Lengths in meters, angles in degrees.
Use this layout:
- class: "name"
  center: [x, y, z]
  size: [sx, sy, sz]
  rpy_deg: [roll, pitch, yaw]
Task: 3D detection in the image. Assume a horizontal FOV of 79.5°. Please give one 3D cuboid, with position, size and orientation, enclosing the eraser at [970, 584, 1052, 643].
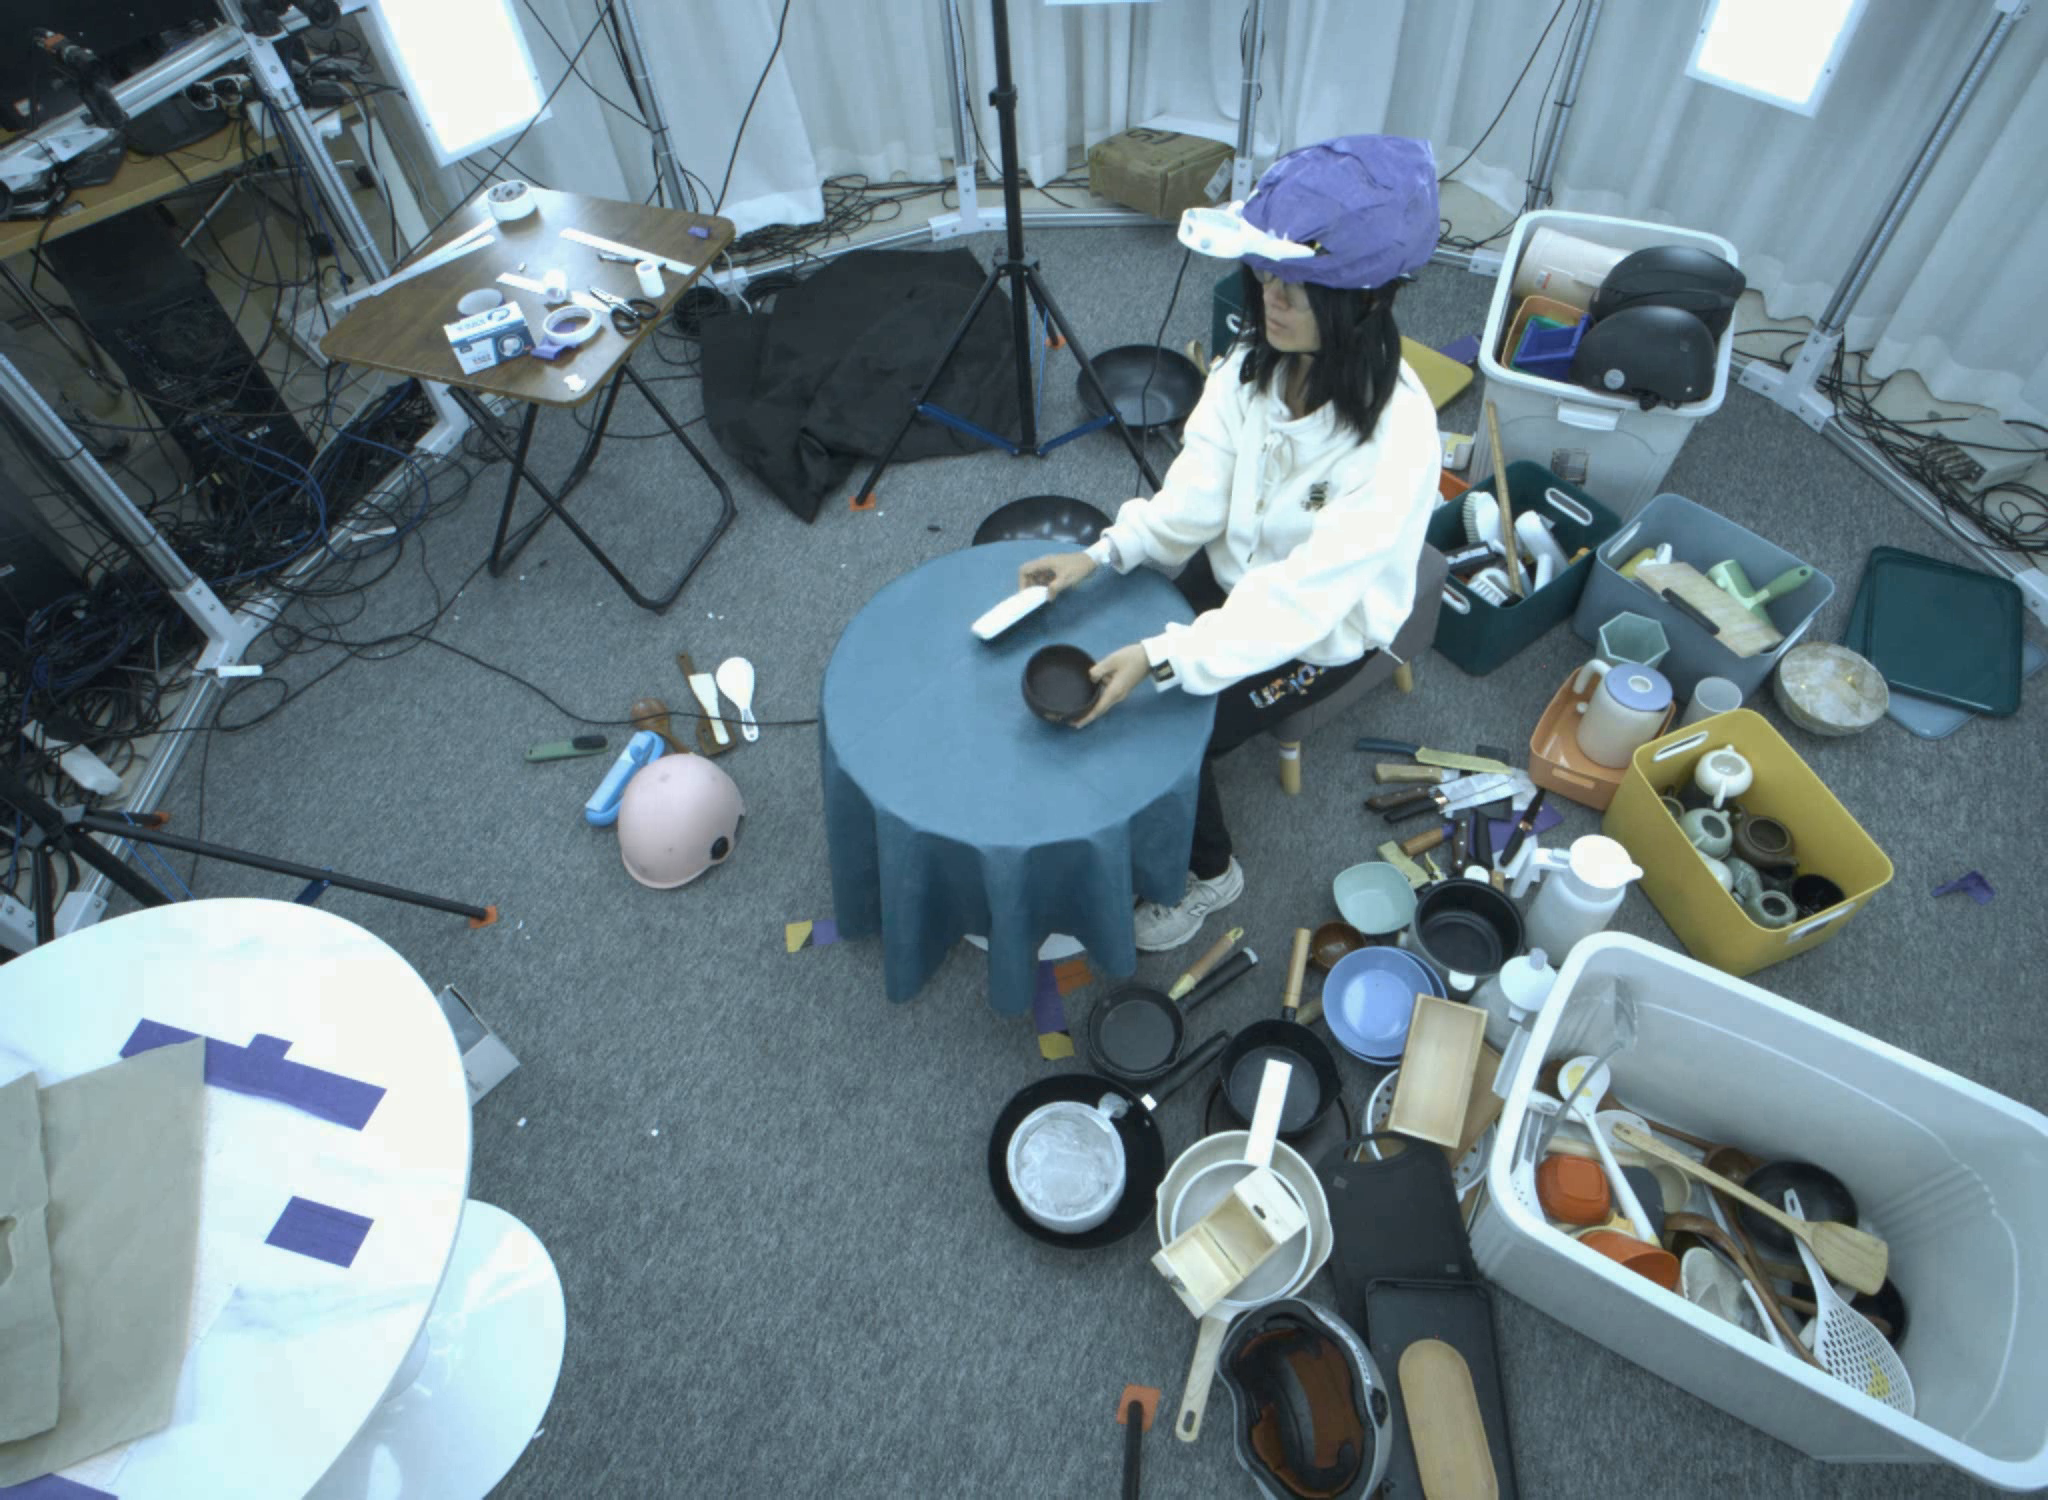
- class: "eraser"
  center: [-0.020, -0.214, 1.900]
  size: [0.132, 0.035, 0.062]
  rpy_deg: [-35, 28, -14]

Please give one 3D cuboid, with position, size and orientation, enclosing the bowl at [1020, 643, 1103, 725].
- class: "bowl"
  center: [0.051, -0.089, 1.791]
  size: [0.119, 0.070, 0.117]
  rpy_deg: [5, 66, -10]
